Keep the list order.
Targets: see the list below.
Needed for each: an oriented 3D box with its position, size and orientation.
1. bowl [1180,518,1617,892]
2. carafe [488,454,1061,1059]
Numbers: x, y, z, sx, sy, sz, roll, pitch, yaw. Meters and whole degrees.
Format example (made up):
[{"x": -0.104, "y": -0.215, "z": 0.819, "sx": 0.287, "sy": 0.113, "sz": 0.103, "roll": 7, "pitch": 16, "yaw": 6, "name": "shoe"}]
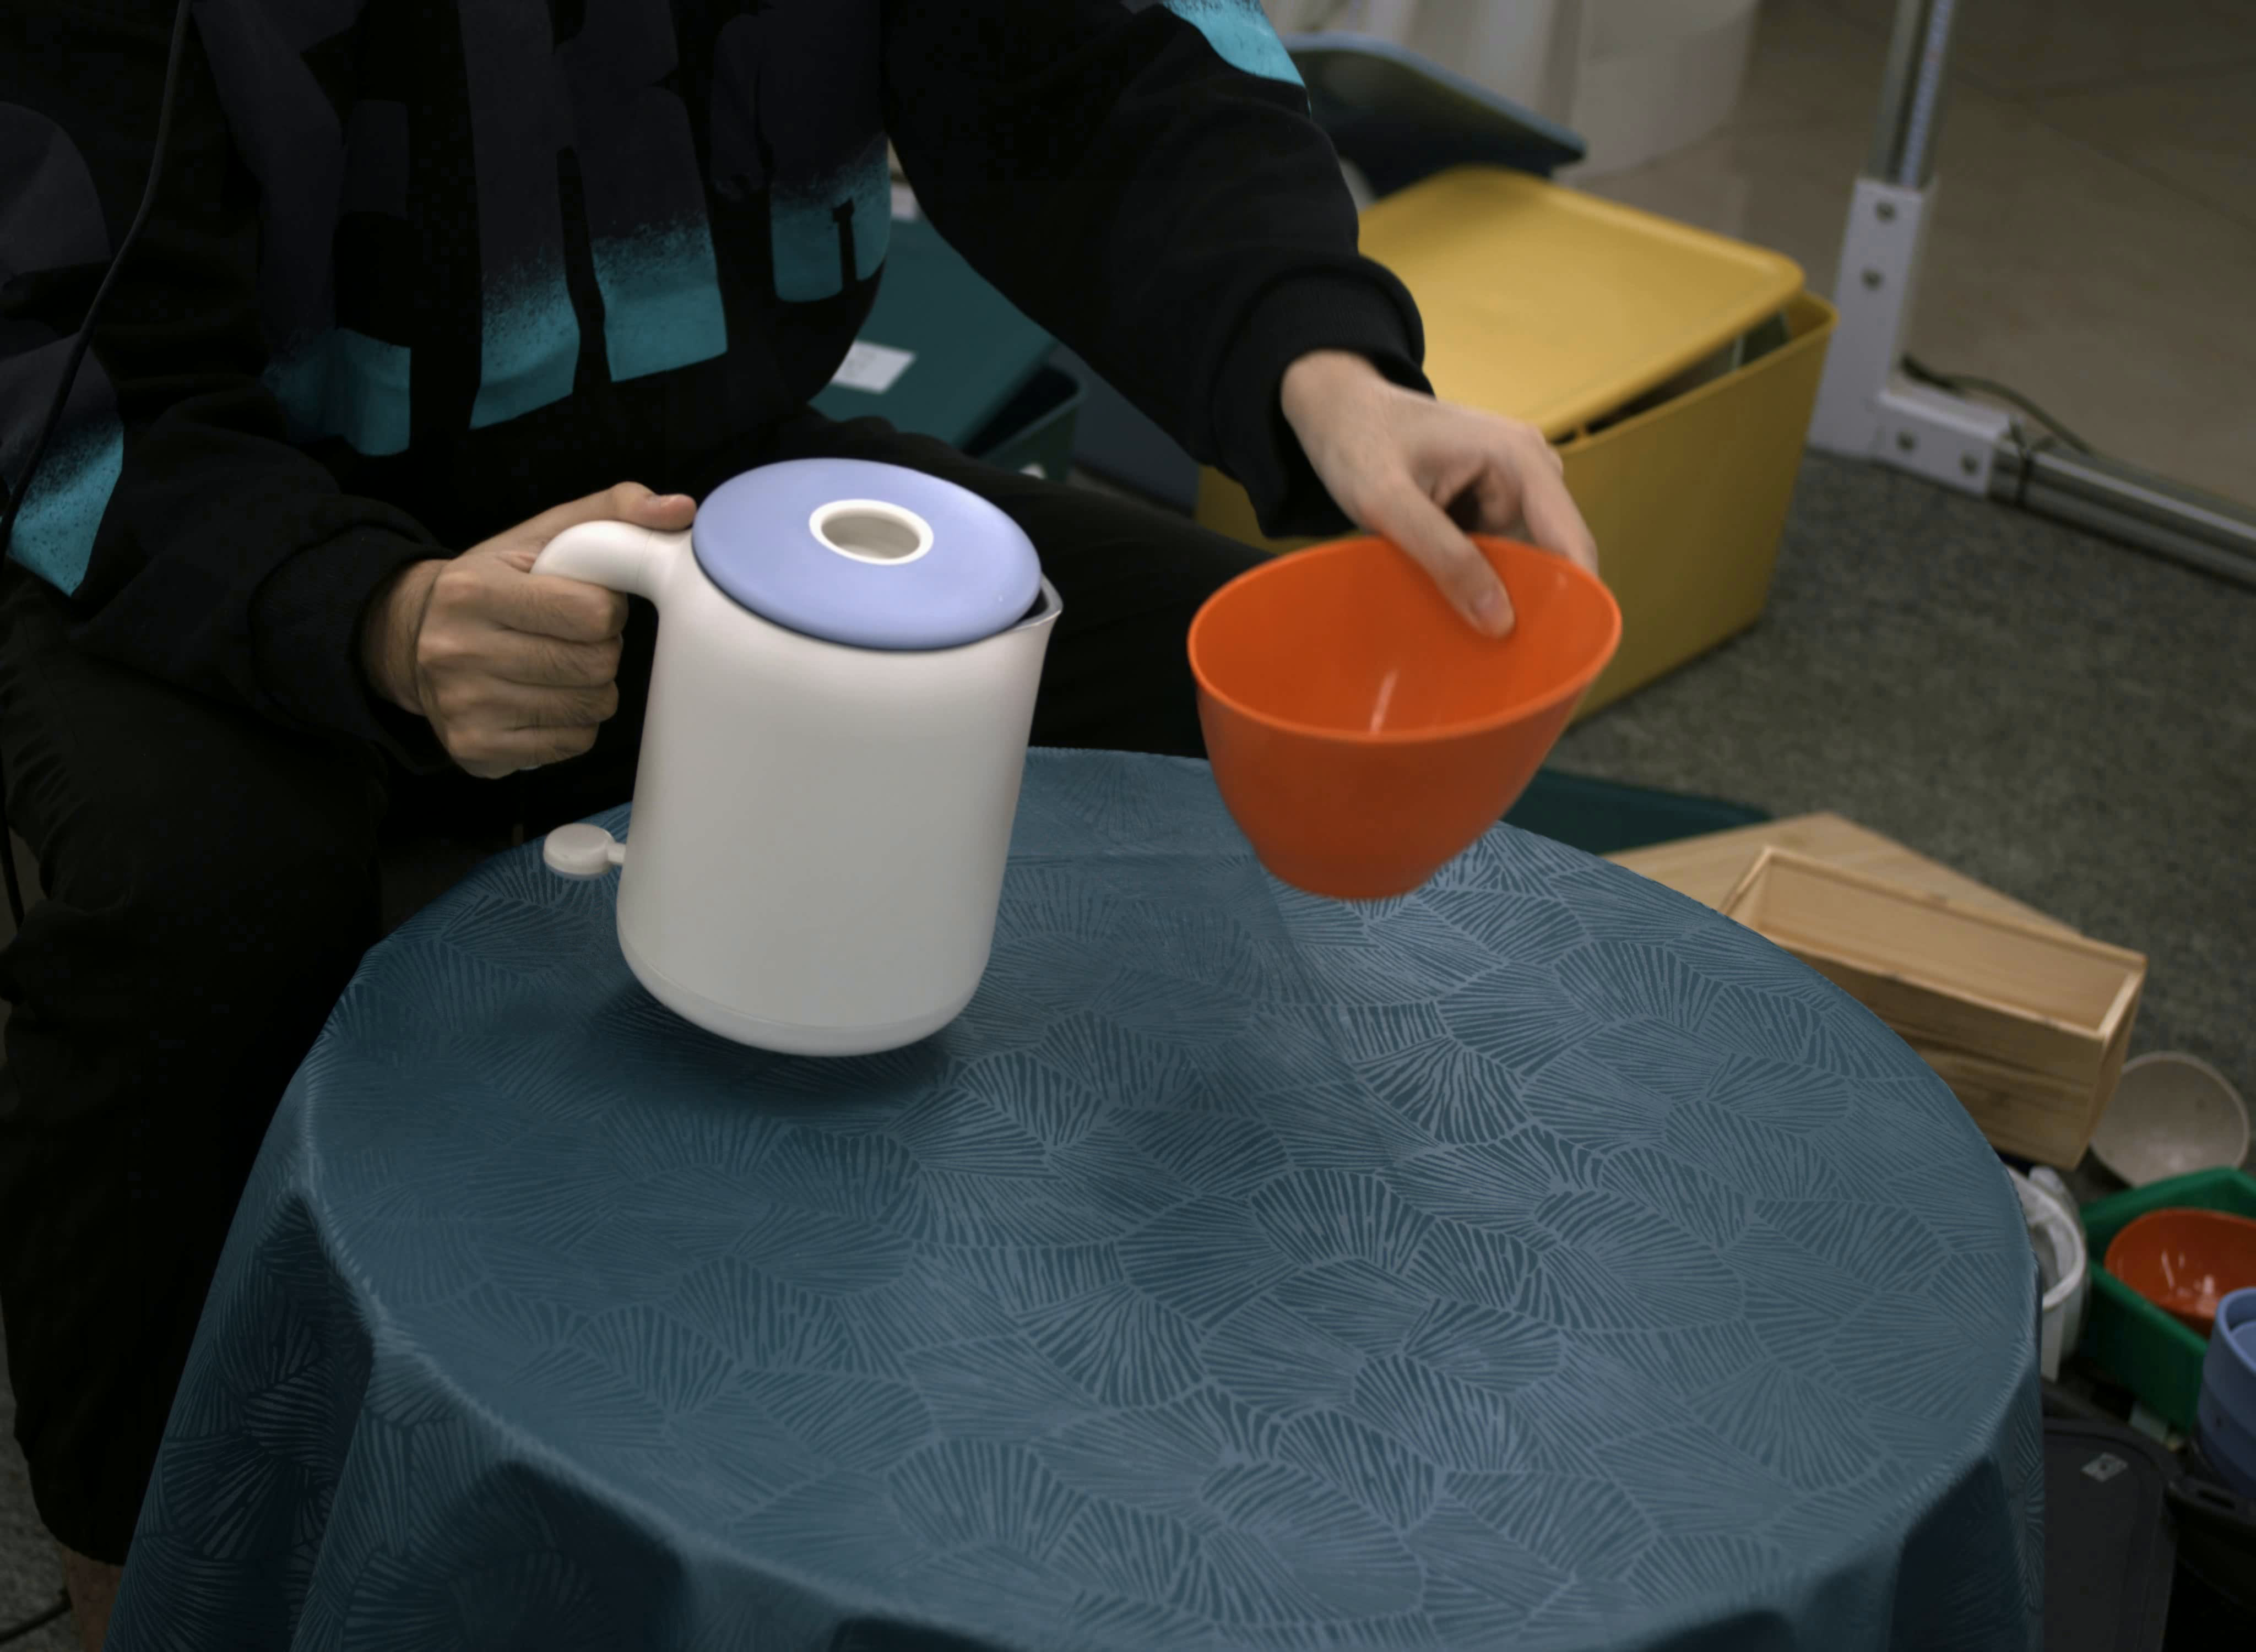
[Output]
[{"x": 0.088, "y": -0.035, "z": 1.827, "sx": 0.147, "sy": 0.104, "sz": 0.149, "roll": 3, "pitch": 34, "yaw": -2, "name": "bowl"}, {"x": -0.125, "y": -0.029, "z": 1.822, "sx": 0.191, "sy": 0.182, "sz": 0.133, "roll": 12, "pitch": 30, "yaw": 6, "name": "carafe"}]
